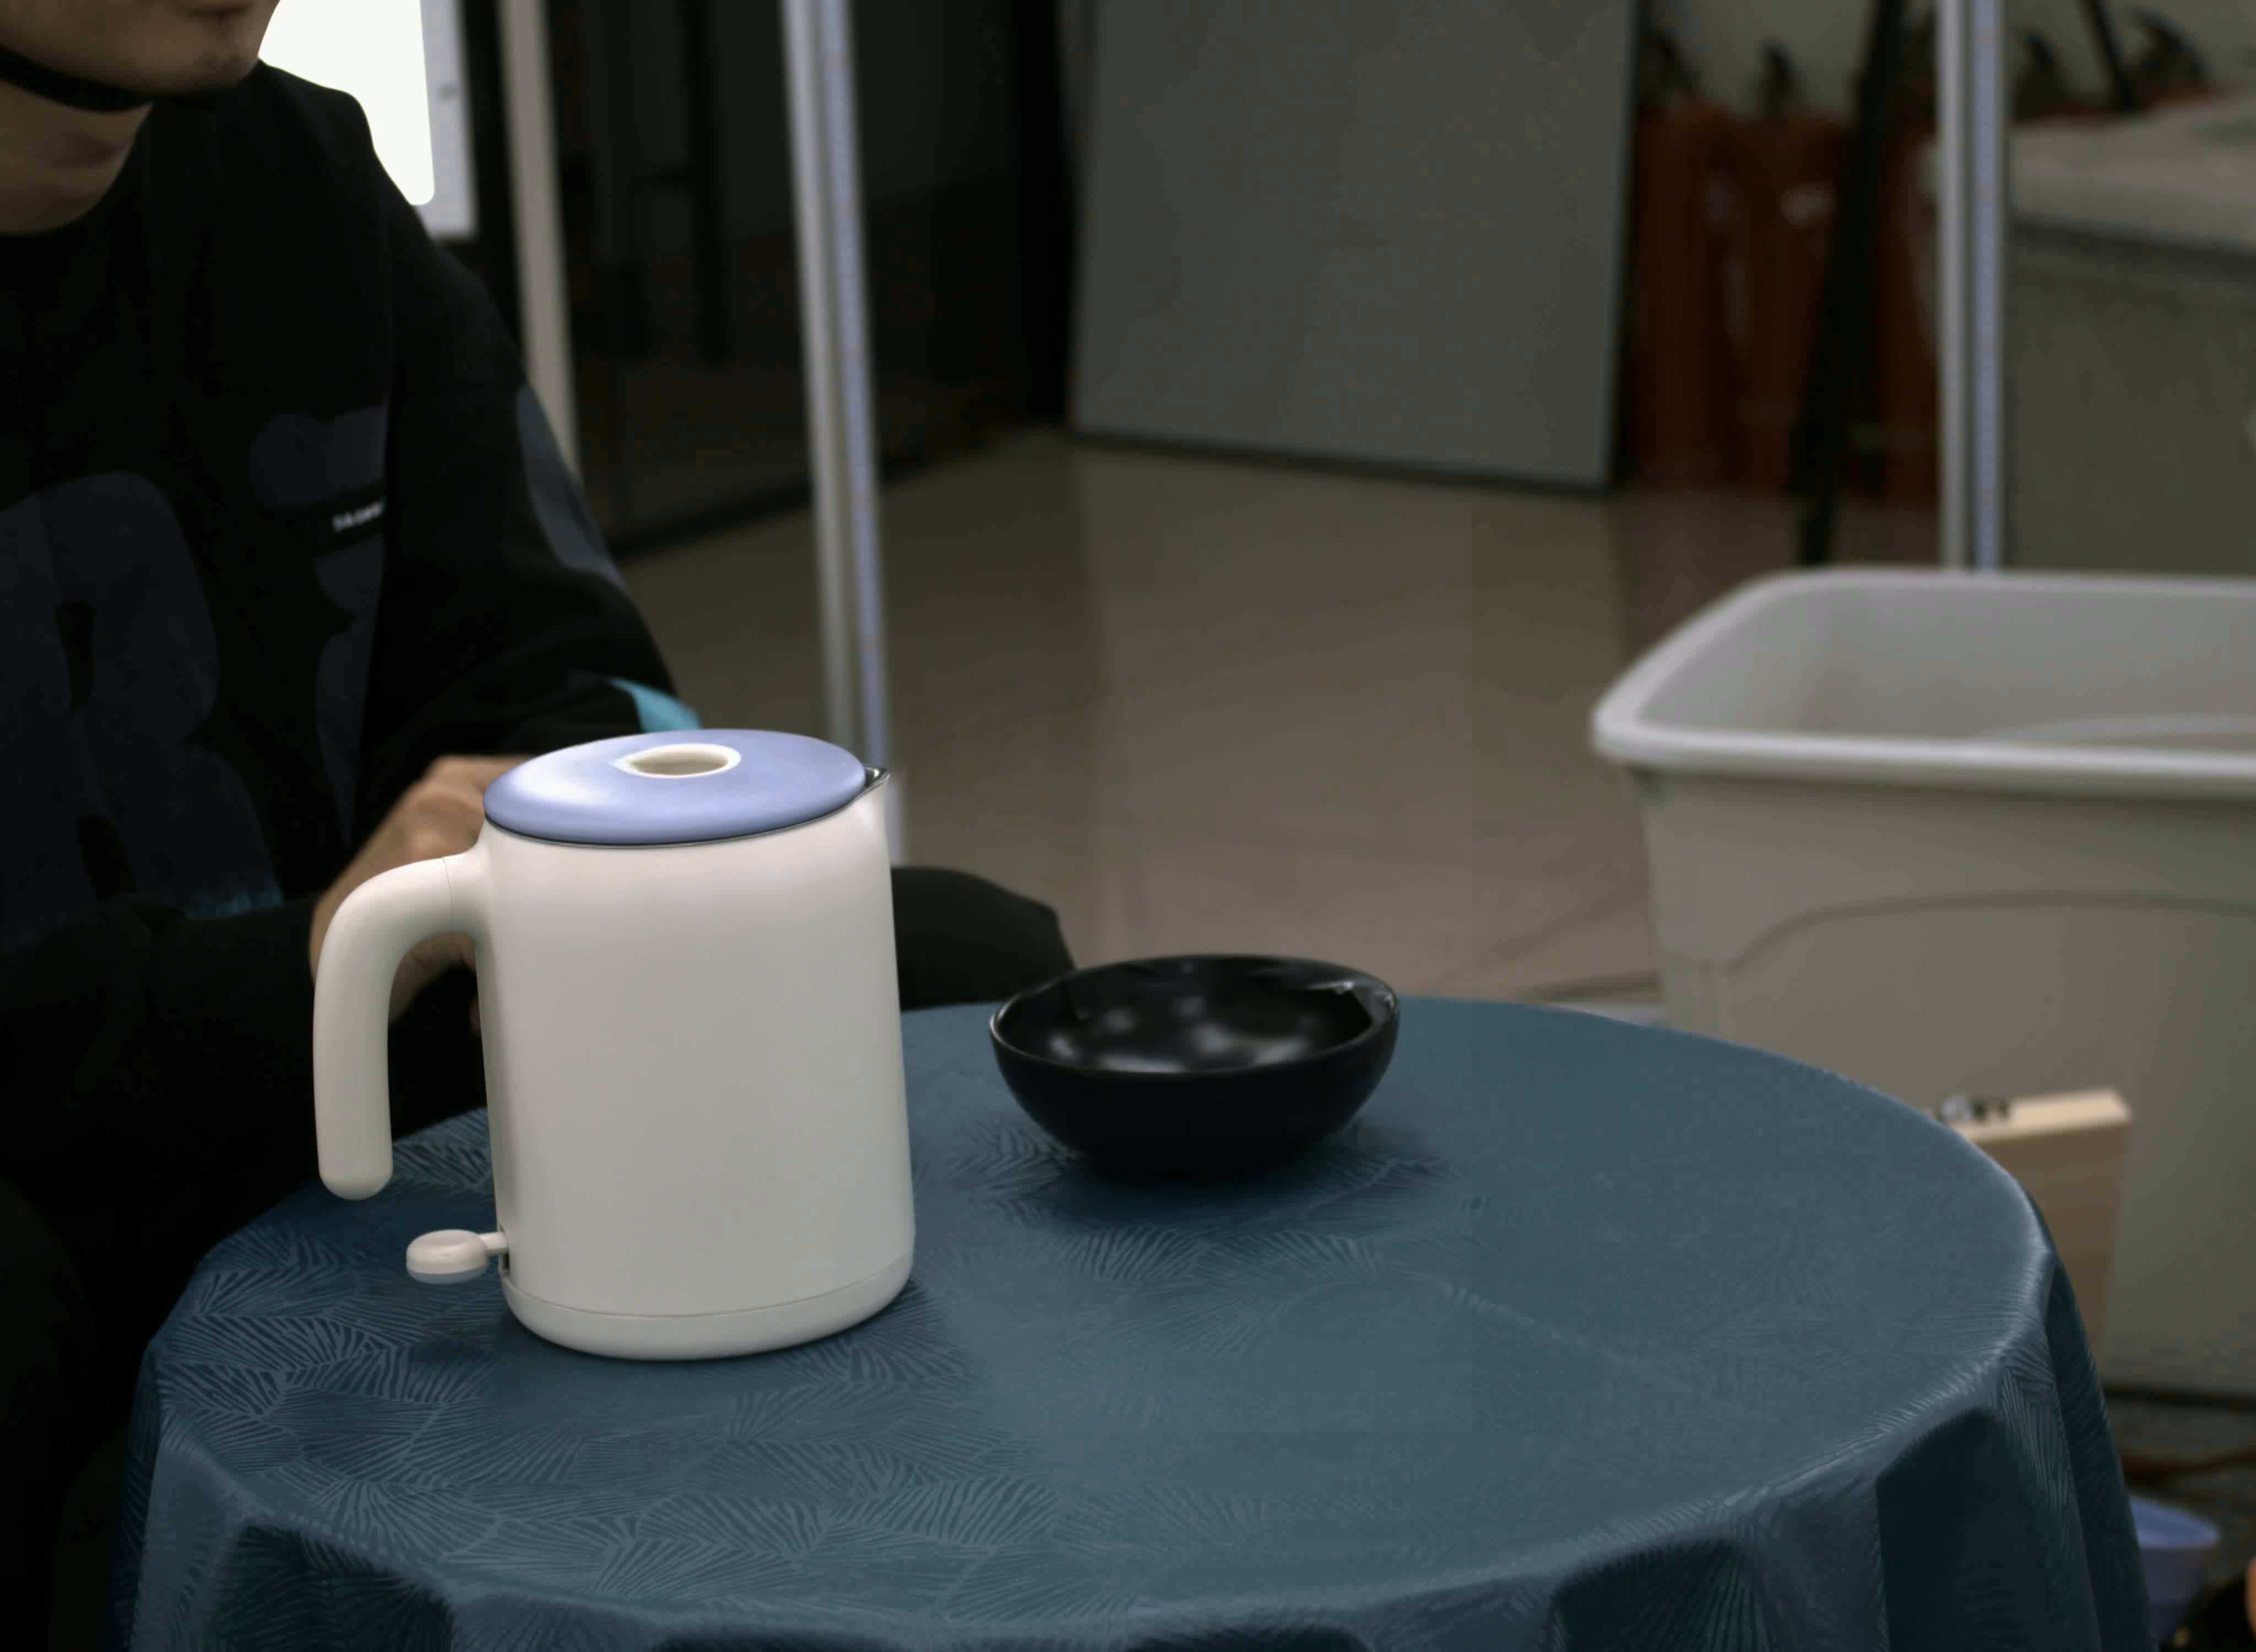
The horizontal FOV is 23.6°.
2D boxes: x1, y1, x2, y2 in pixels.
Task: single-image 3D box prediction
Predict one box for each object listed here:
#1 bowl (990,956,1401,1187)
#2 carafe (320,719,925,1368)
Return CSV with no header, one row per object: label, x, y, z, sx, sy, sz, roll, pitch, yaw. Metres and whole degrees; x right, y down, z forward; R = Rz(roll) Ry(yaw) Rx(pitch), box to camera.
bowl,0.025,0.086,1.804,0.138,0.050,0.140,-6,14,0
carafe,-0.156,0.070,1.667,0.187,0.184,0.133,-10,13,-15
